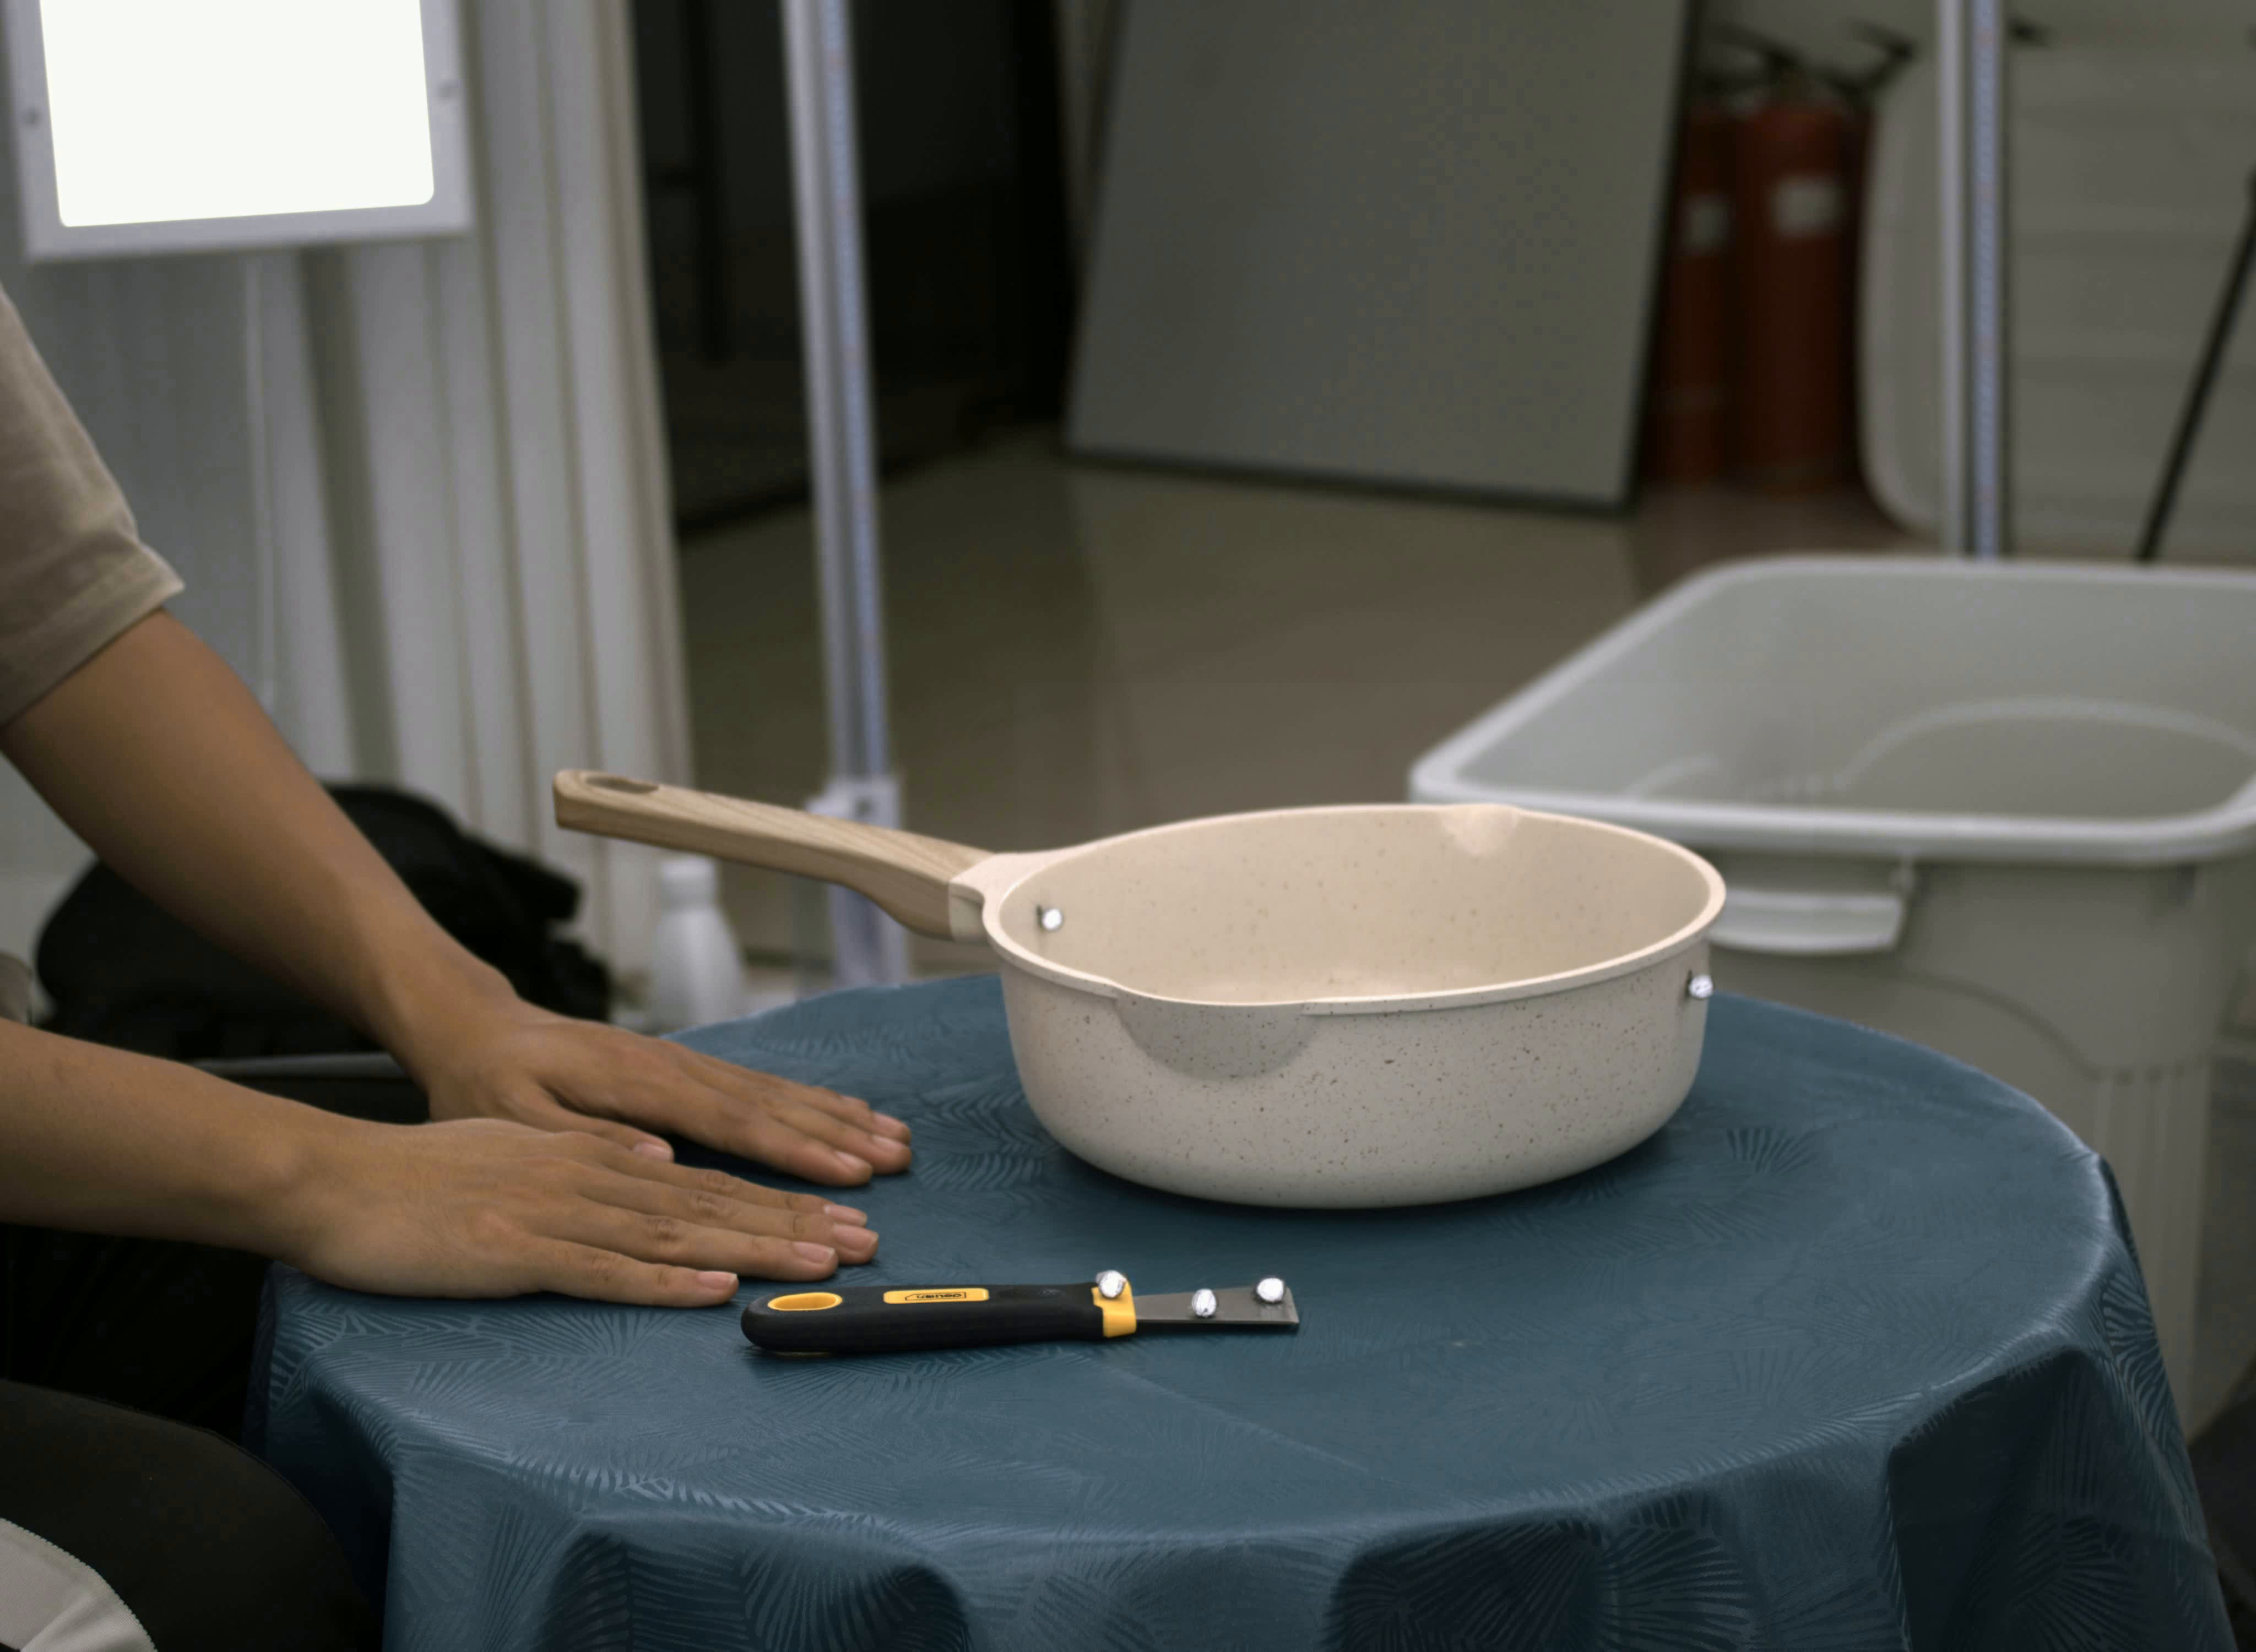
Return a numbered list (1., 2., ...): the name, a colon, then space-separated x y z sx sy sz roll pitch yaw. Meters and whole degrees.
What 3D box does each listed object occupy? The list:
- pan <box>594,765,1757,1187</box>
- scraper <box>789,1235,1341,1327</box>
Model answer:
1. pan: 0.009 0.042 1.876 0.435 0.103 0.260 3 17 26
2. scraper: -0.019 0.139 1.649 0.168 0.015 0.039 -3 17 -4
